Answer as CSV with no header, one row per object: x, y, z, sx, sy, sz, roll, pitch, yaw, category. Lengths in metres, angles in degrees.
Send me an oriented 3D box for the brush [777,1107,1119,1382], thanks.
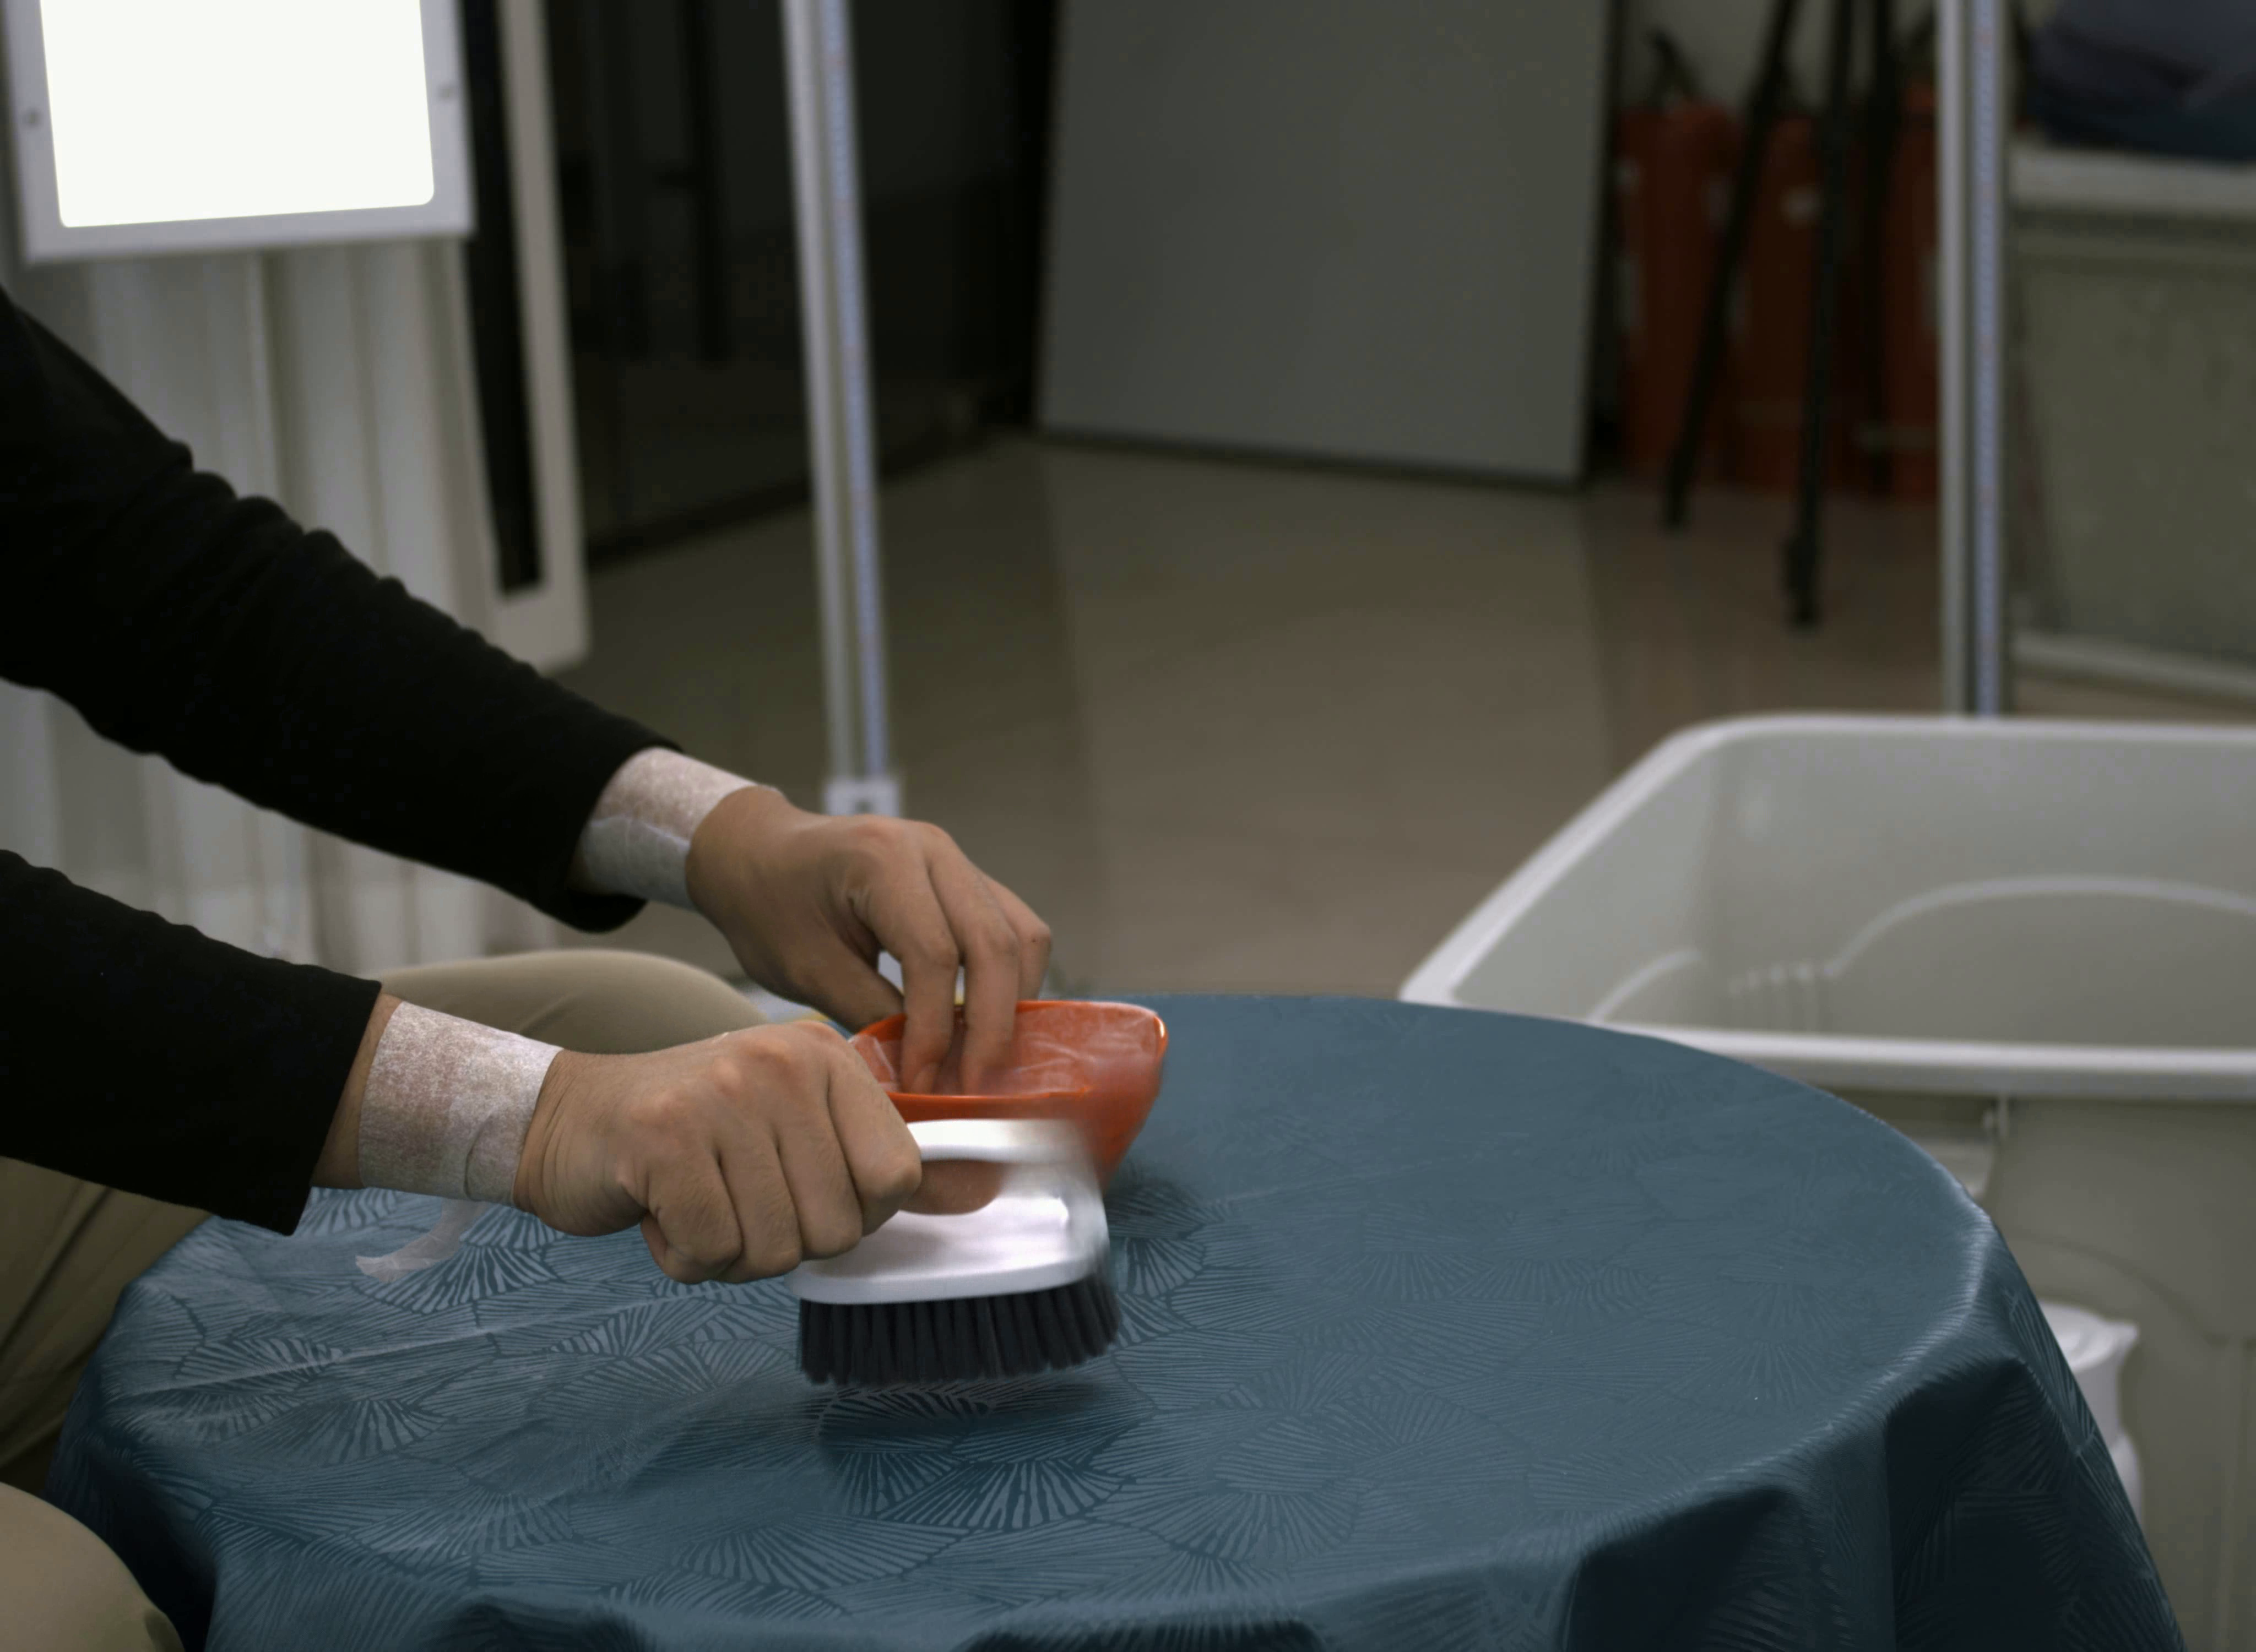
-0.055,0.117,1.577,0.098,0.073,0.050,-5,24,10,brush

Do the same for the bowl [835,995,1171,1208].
-0.040,0.096,1.773,0.117,0.052,0.119,-1,16,-1,bowl
